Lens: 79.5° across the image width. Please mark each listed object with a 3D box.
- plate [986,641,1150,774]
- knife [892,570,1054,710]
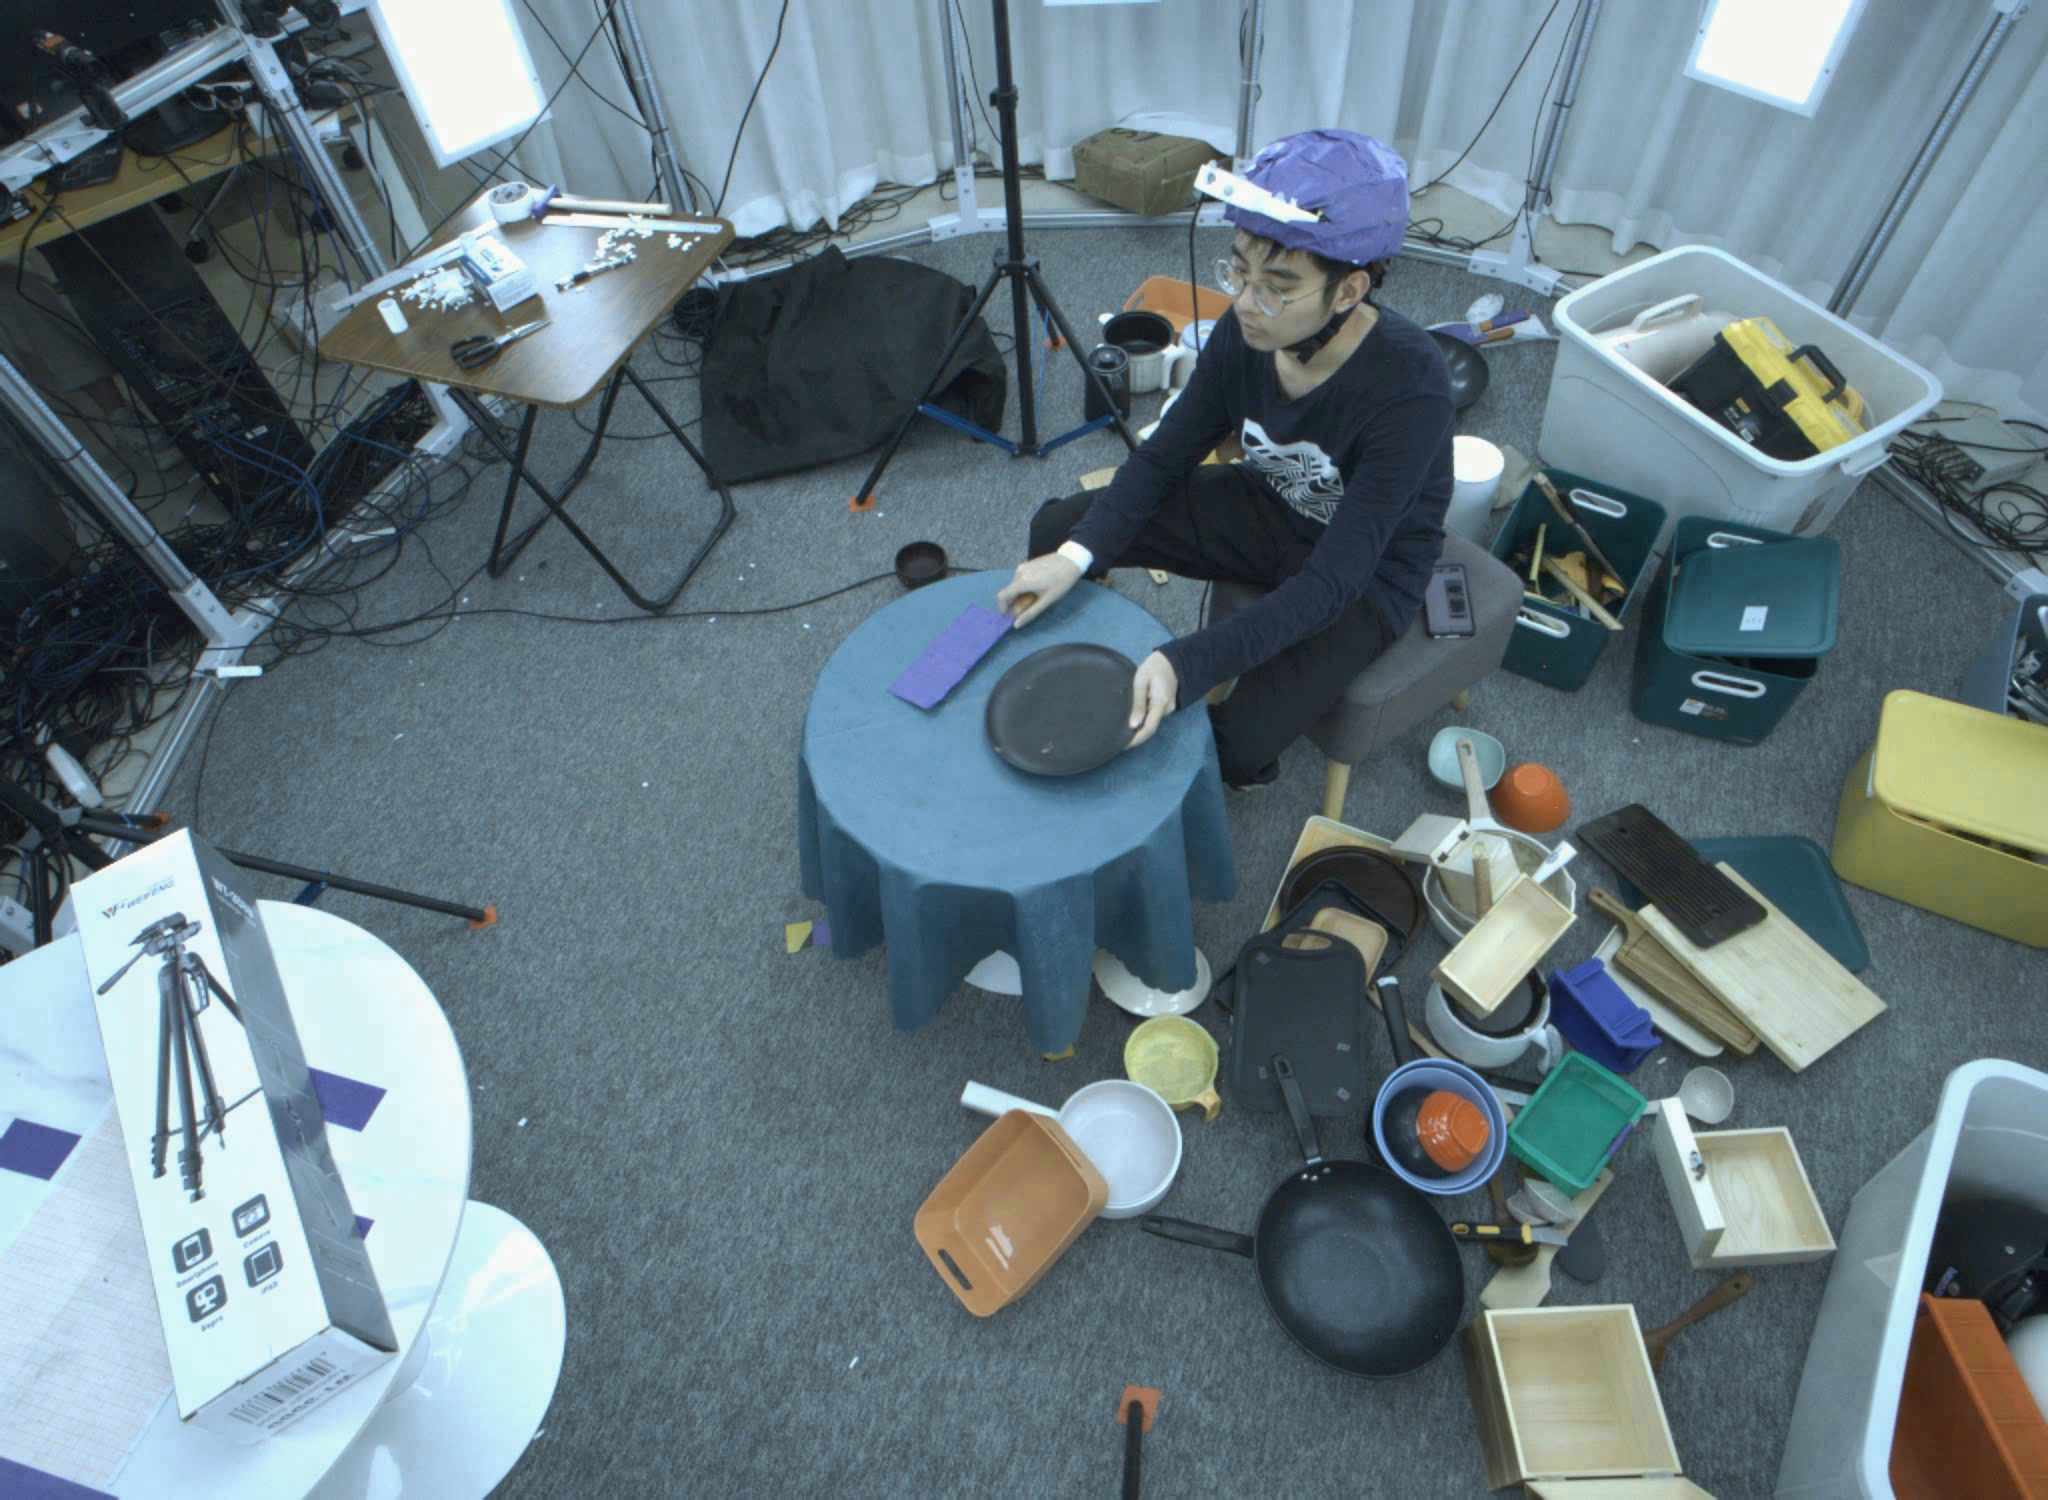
[{"bbox_3d":[0.064,-0.061,1.801,0.243,0.024,0.242,-6,54,10],"label":"plate"},{"bbox_3d":[-0.081,-0.184,1.903,0.102,0.032,0.317,26,59,30],"label":"knife"}]
